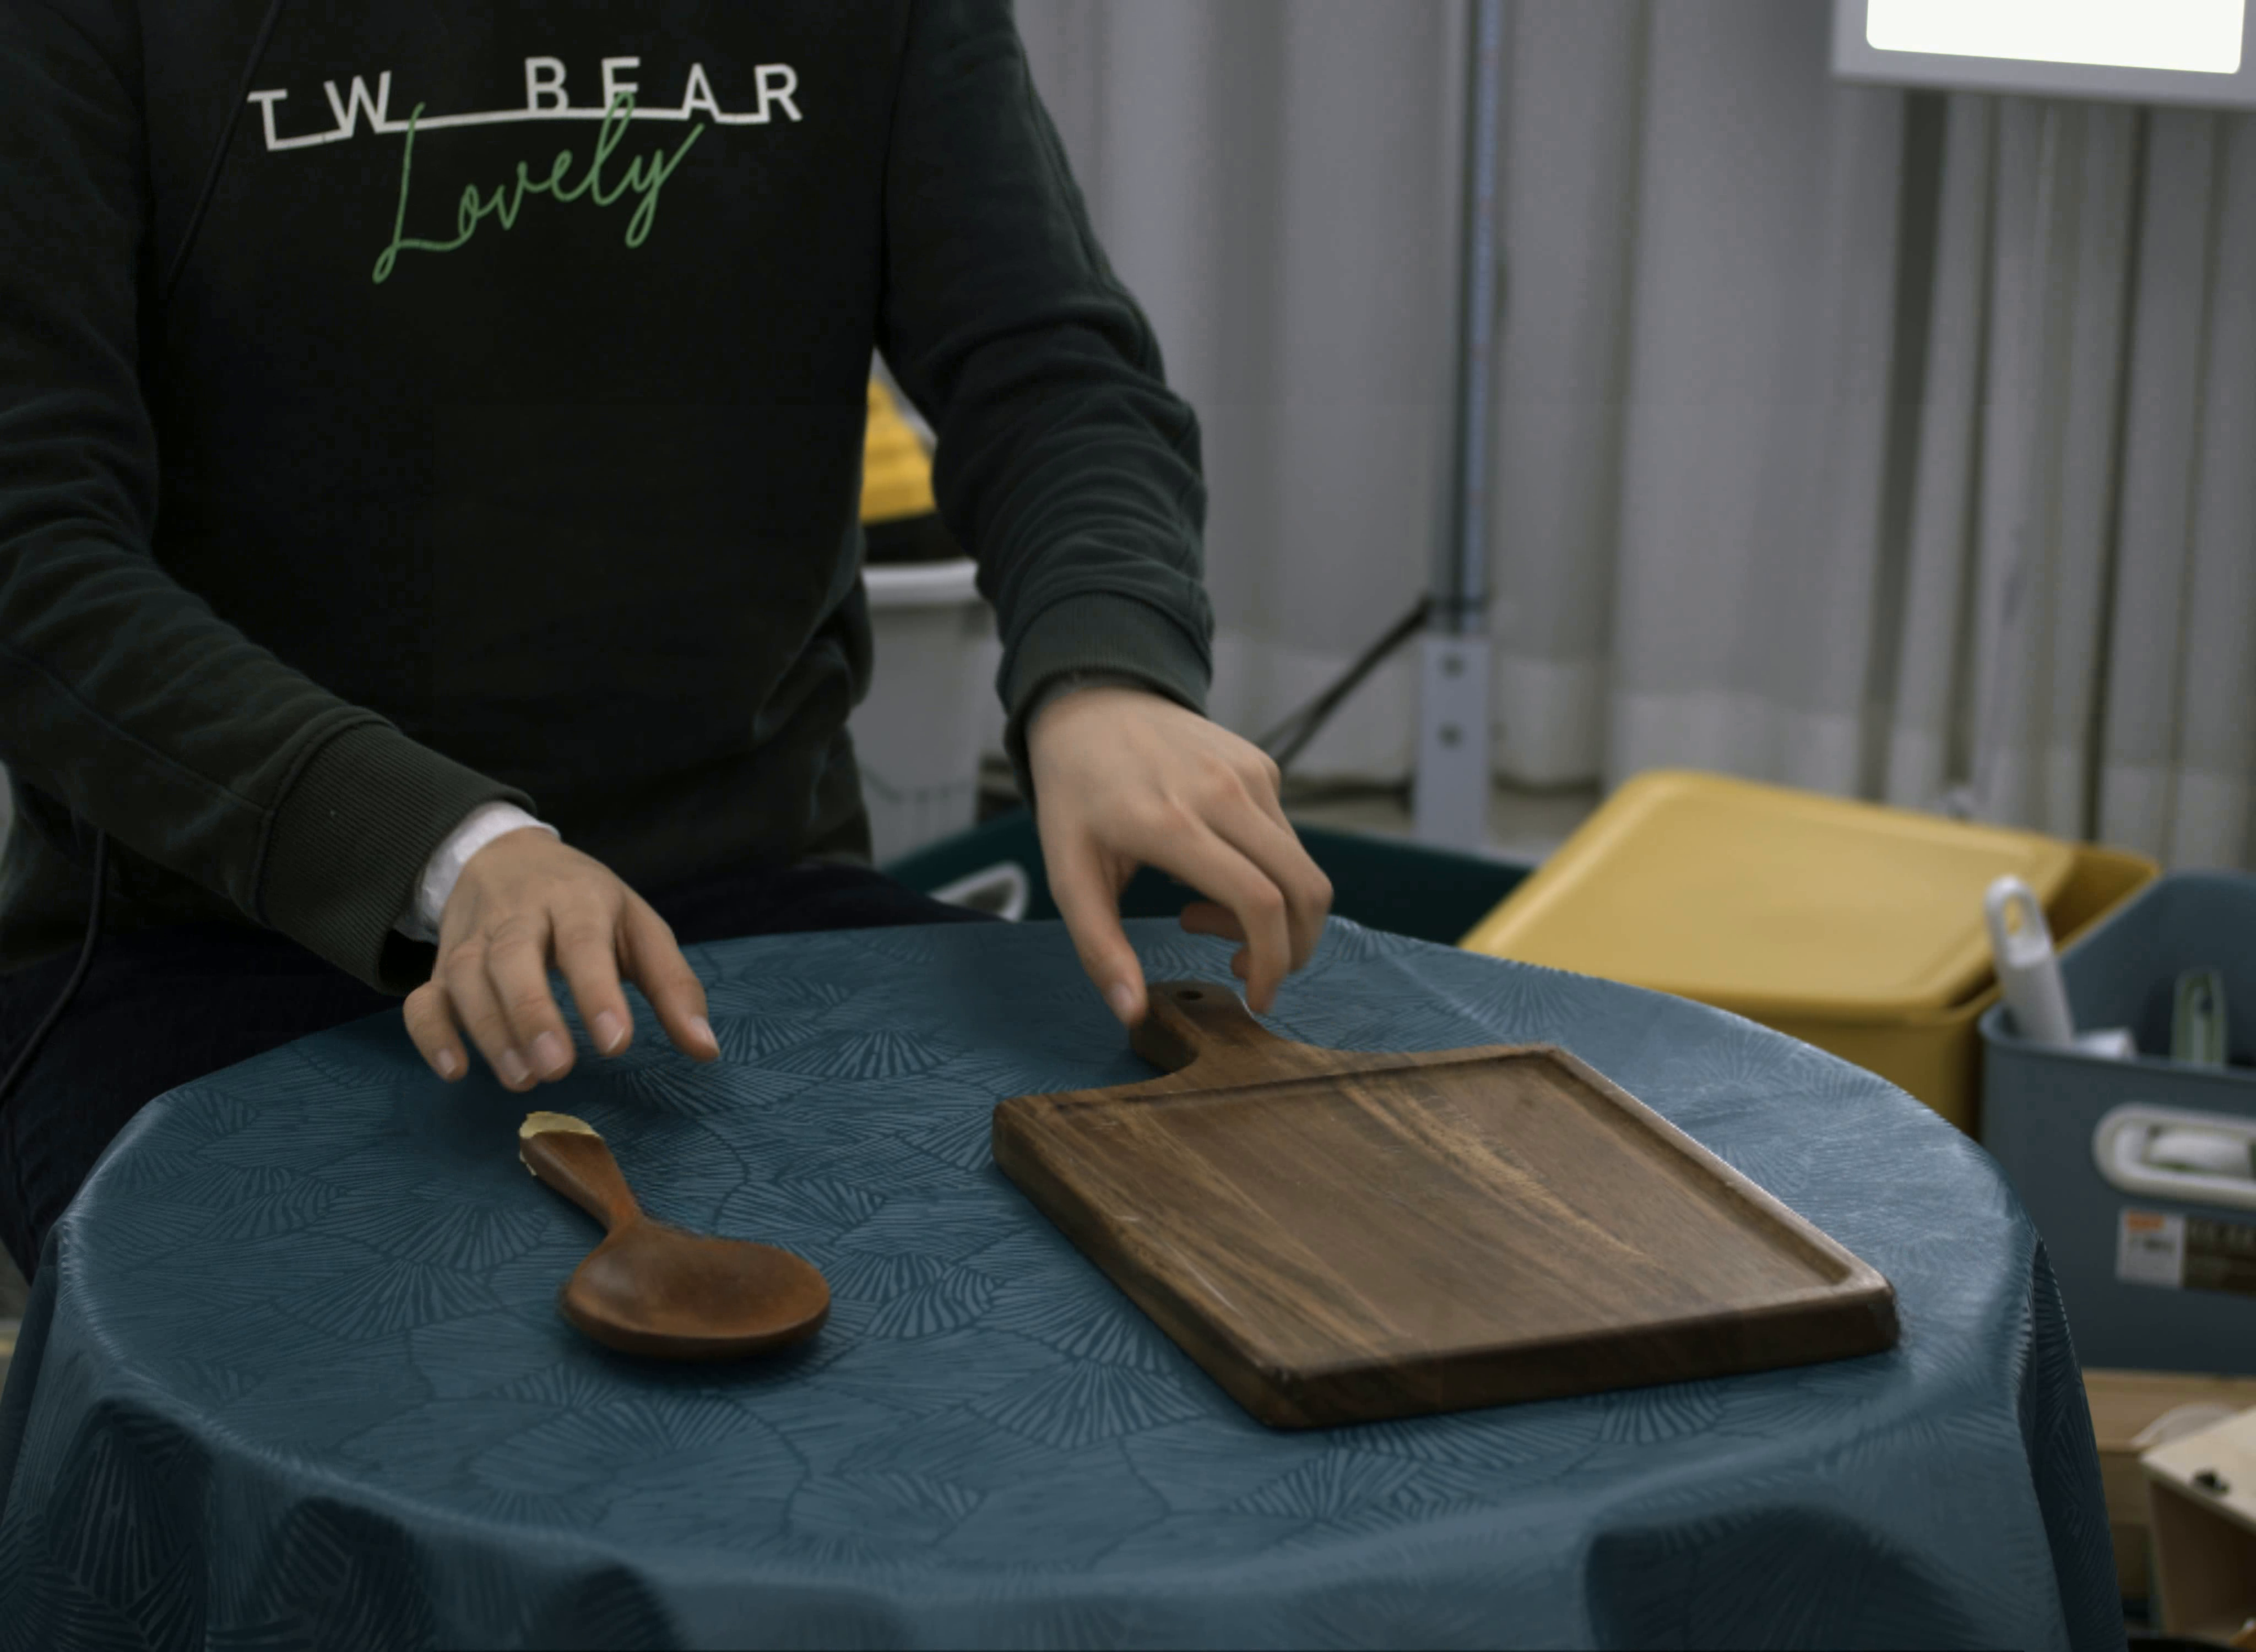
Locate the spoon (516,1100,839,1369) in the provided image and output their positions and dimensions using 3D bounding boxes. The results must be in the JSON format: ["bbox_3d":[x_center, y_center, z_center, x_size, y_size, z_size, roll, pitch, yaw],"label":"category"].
[{"bbox_3d":[-0.143,0.121,1.557,0.075,0.017,0.213,-7,18,-20],"label":"spoon"}]

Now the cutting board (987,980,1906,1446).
[{"bbox_3d":[0.072,0.106,1.619,0.201,0.023,0.348,-6,17,-19],"label":"cutting board"}]
